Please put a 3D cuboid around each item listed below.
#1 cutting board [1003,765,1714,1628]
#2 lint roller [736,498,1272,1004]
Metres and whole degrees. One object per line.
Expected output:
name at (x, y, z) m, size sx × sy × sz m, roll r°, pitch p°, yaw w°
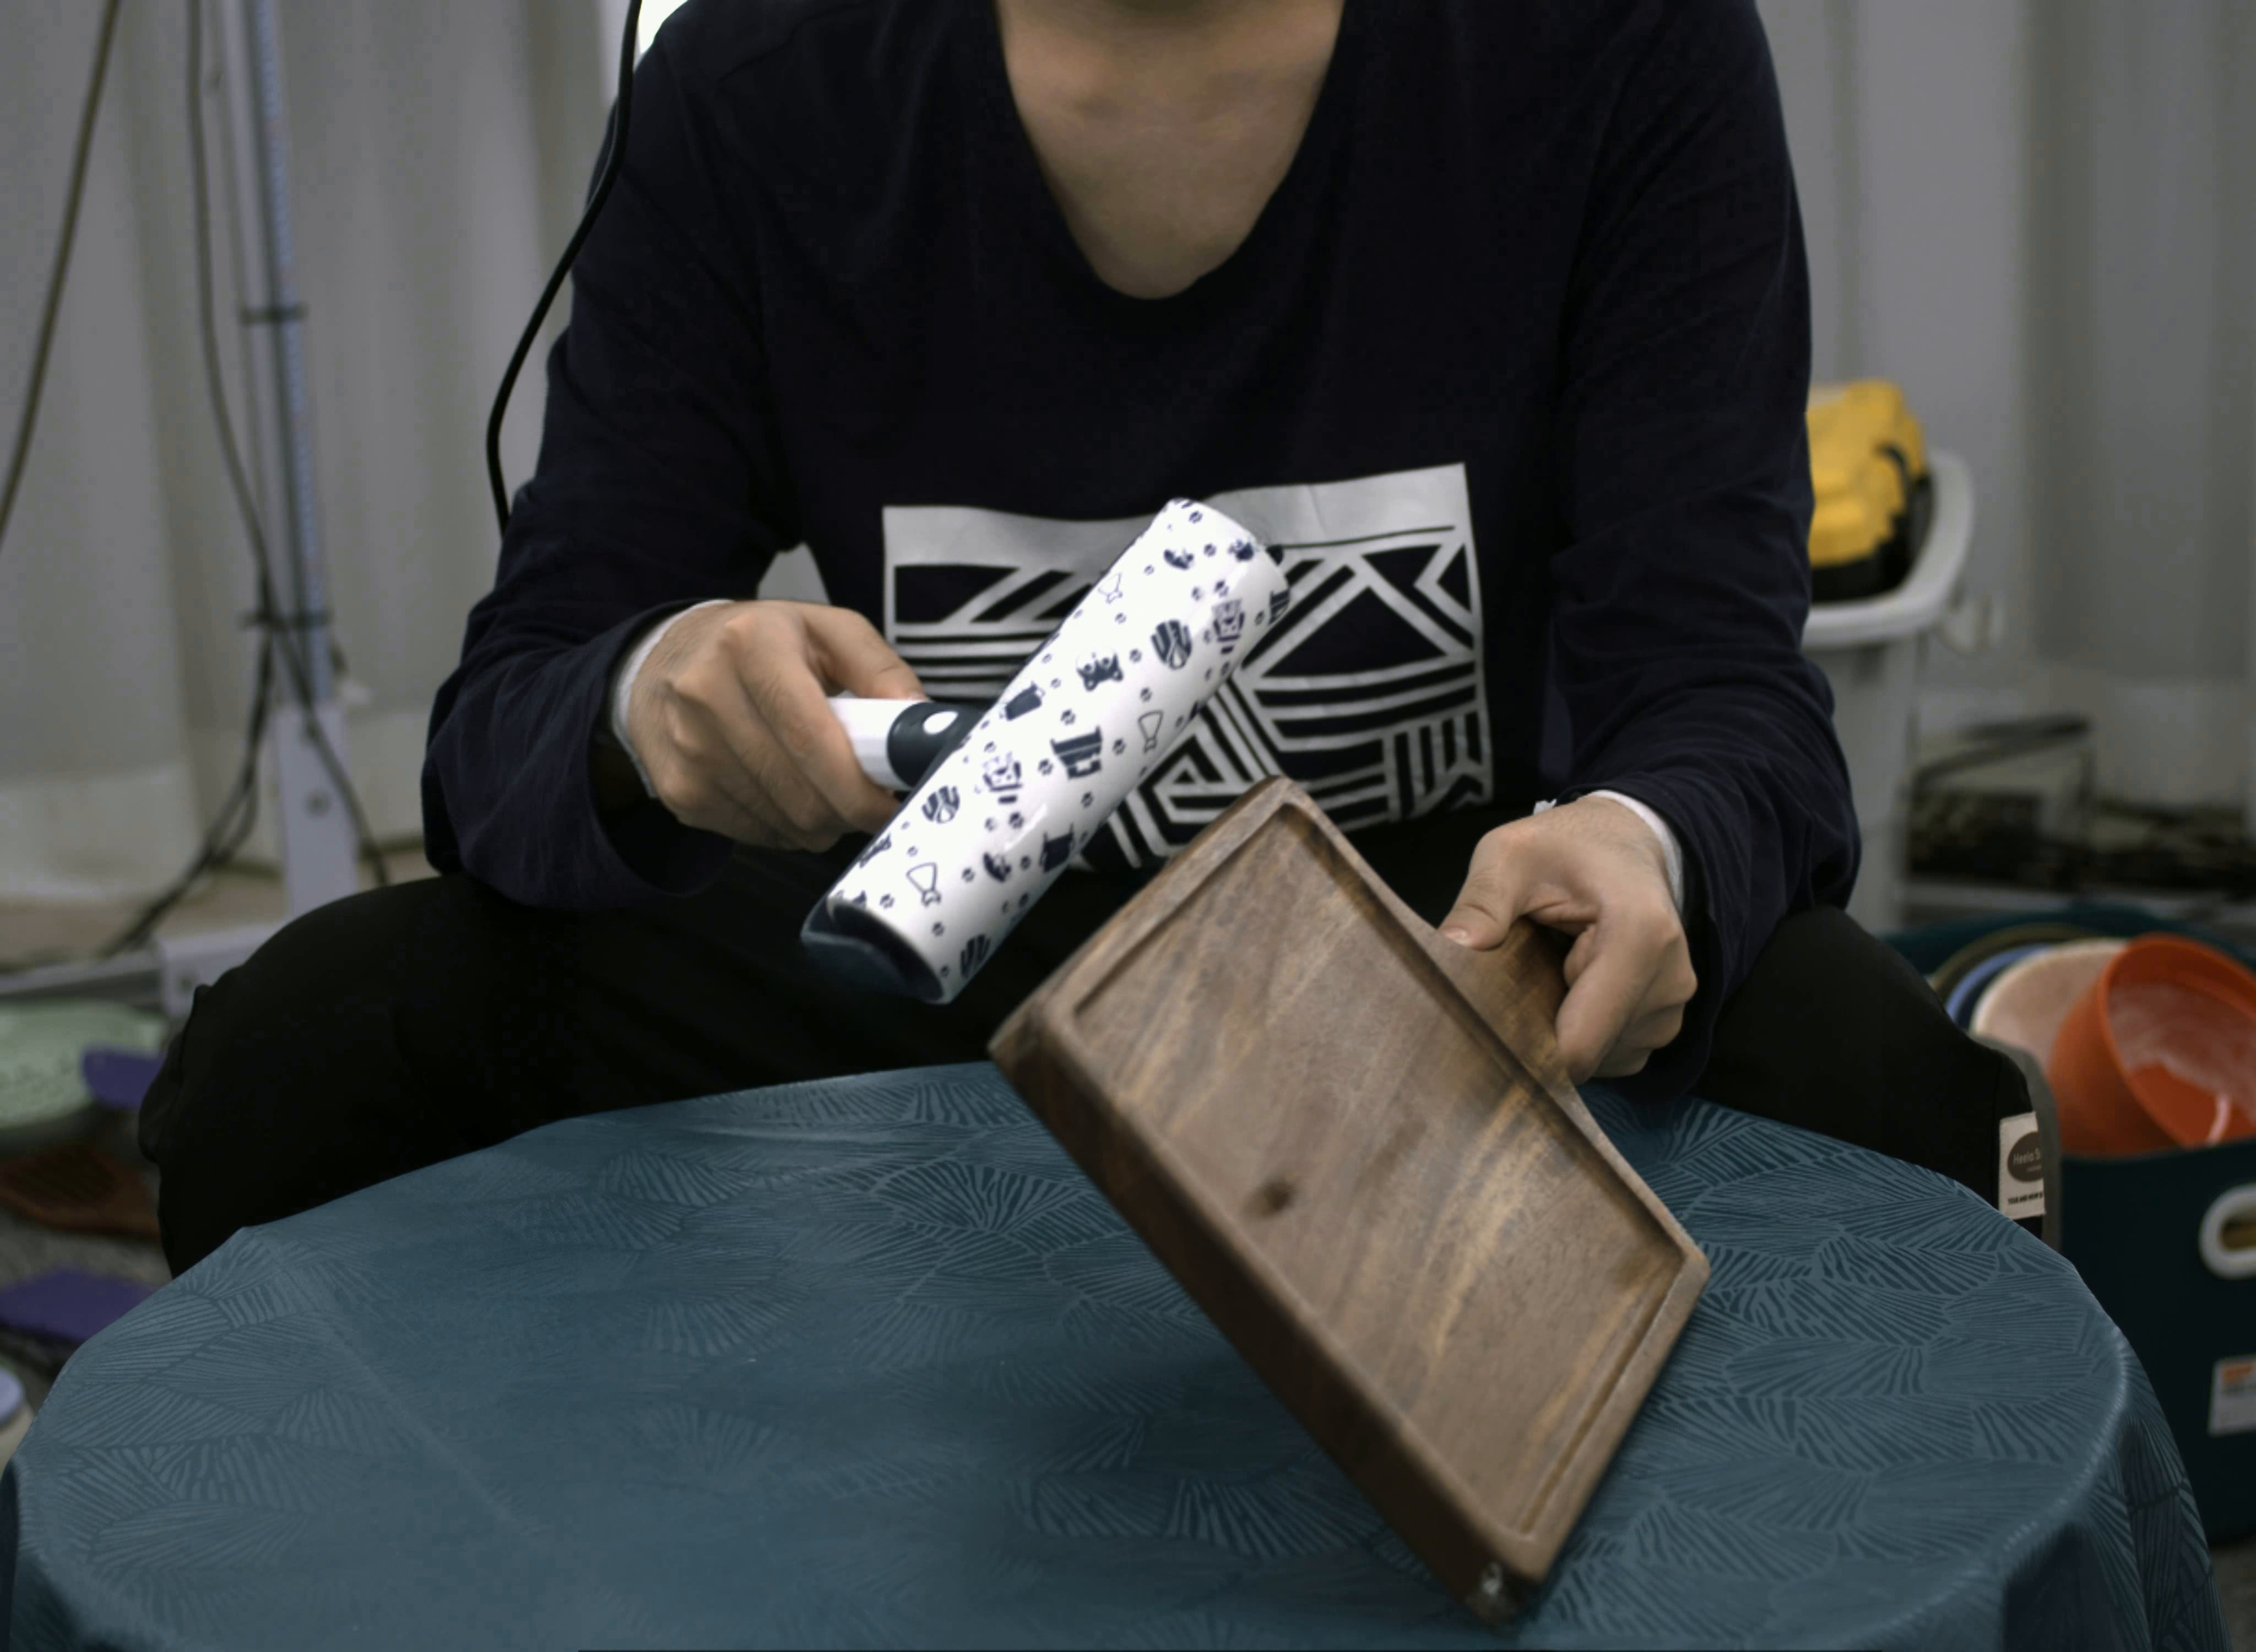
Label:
cutting board at (0.083, 0.079, 1.525) m, size 0.023 × 0.201 × 0.353 m, roll -41°, pitch 1°, yaw 22°
lint roller at (-0.070, -0.024, 1.675) m, size 0.177 × 0.050 × 0.248 m, roll -51°, pitch 22°, yaw -18°
